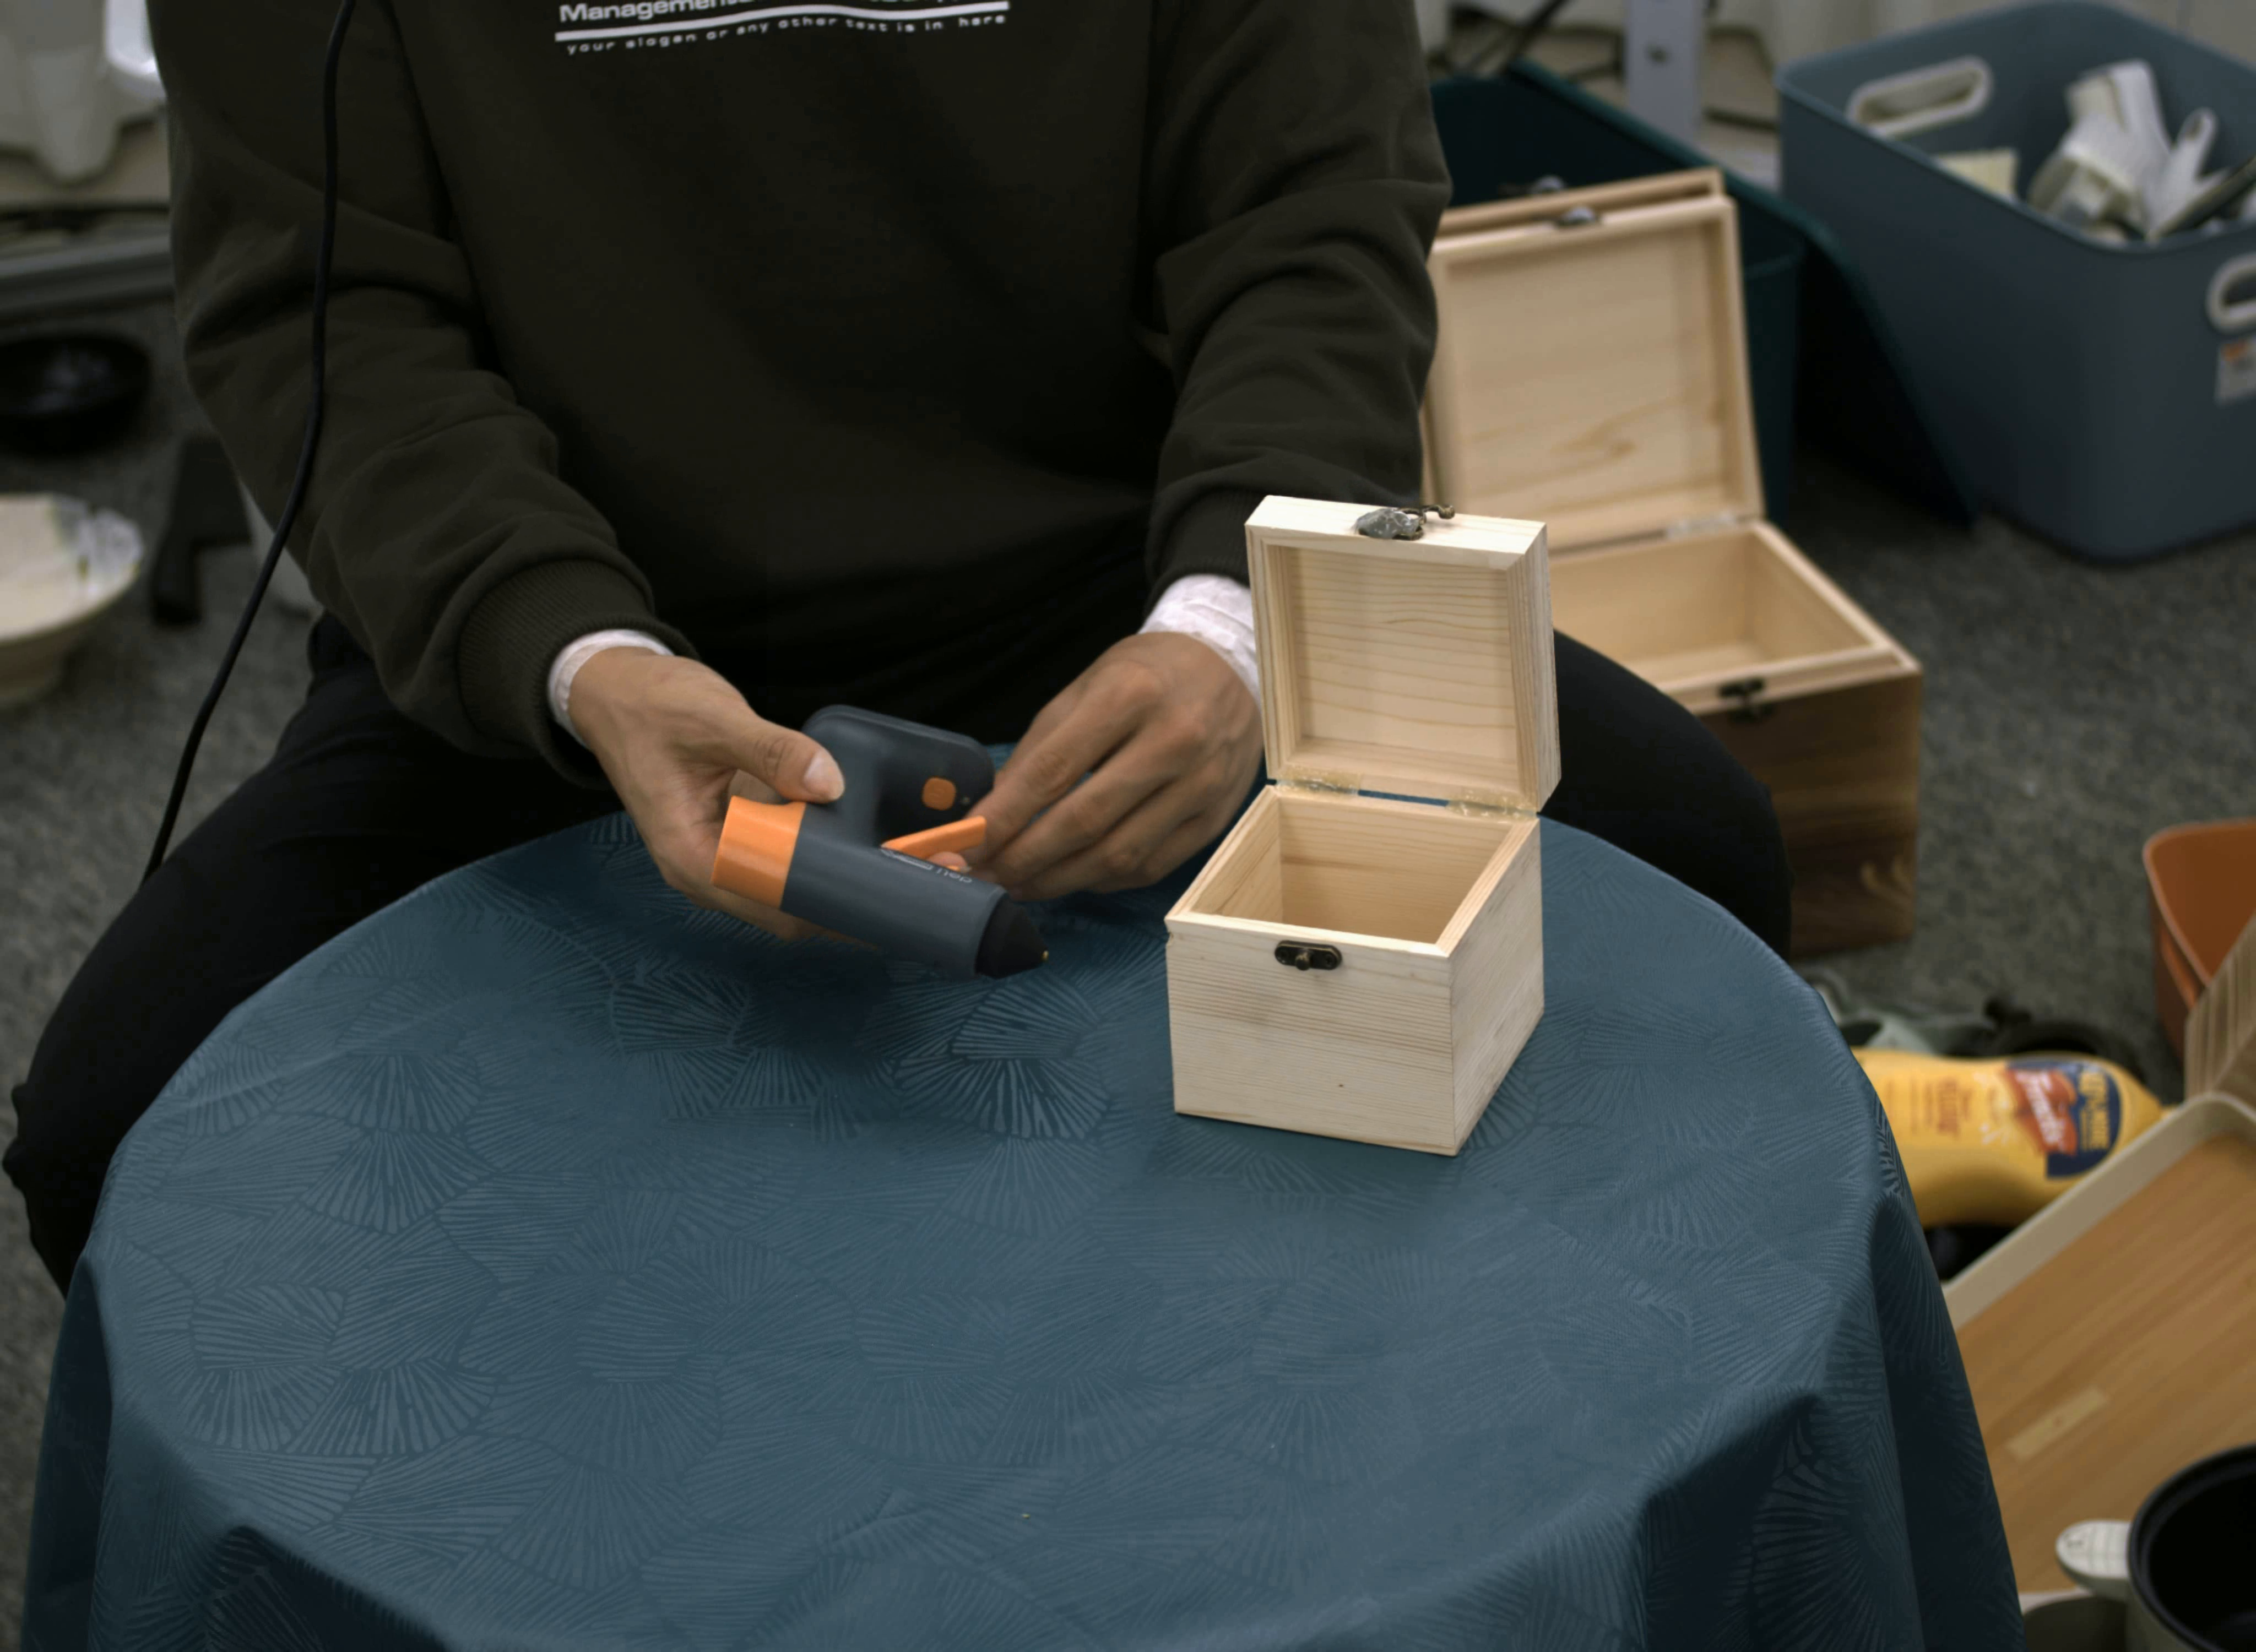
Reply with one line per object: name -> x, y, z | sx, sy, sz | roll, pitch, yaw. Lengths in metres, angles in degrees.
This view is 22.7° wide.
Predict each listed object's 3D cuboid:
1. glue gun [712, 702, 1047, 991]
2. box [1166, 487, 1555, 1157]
glue gun -> -0.082, 0.009, 1.960 | 0.117, 0.040, 0.141 | 18, 21, -7
box -> 0.078, -0.003, 1.900 | 0.102, 0.182, 0.136 | 7, 29, 18
